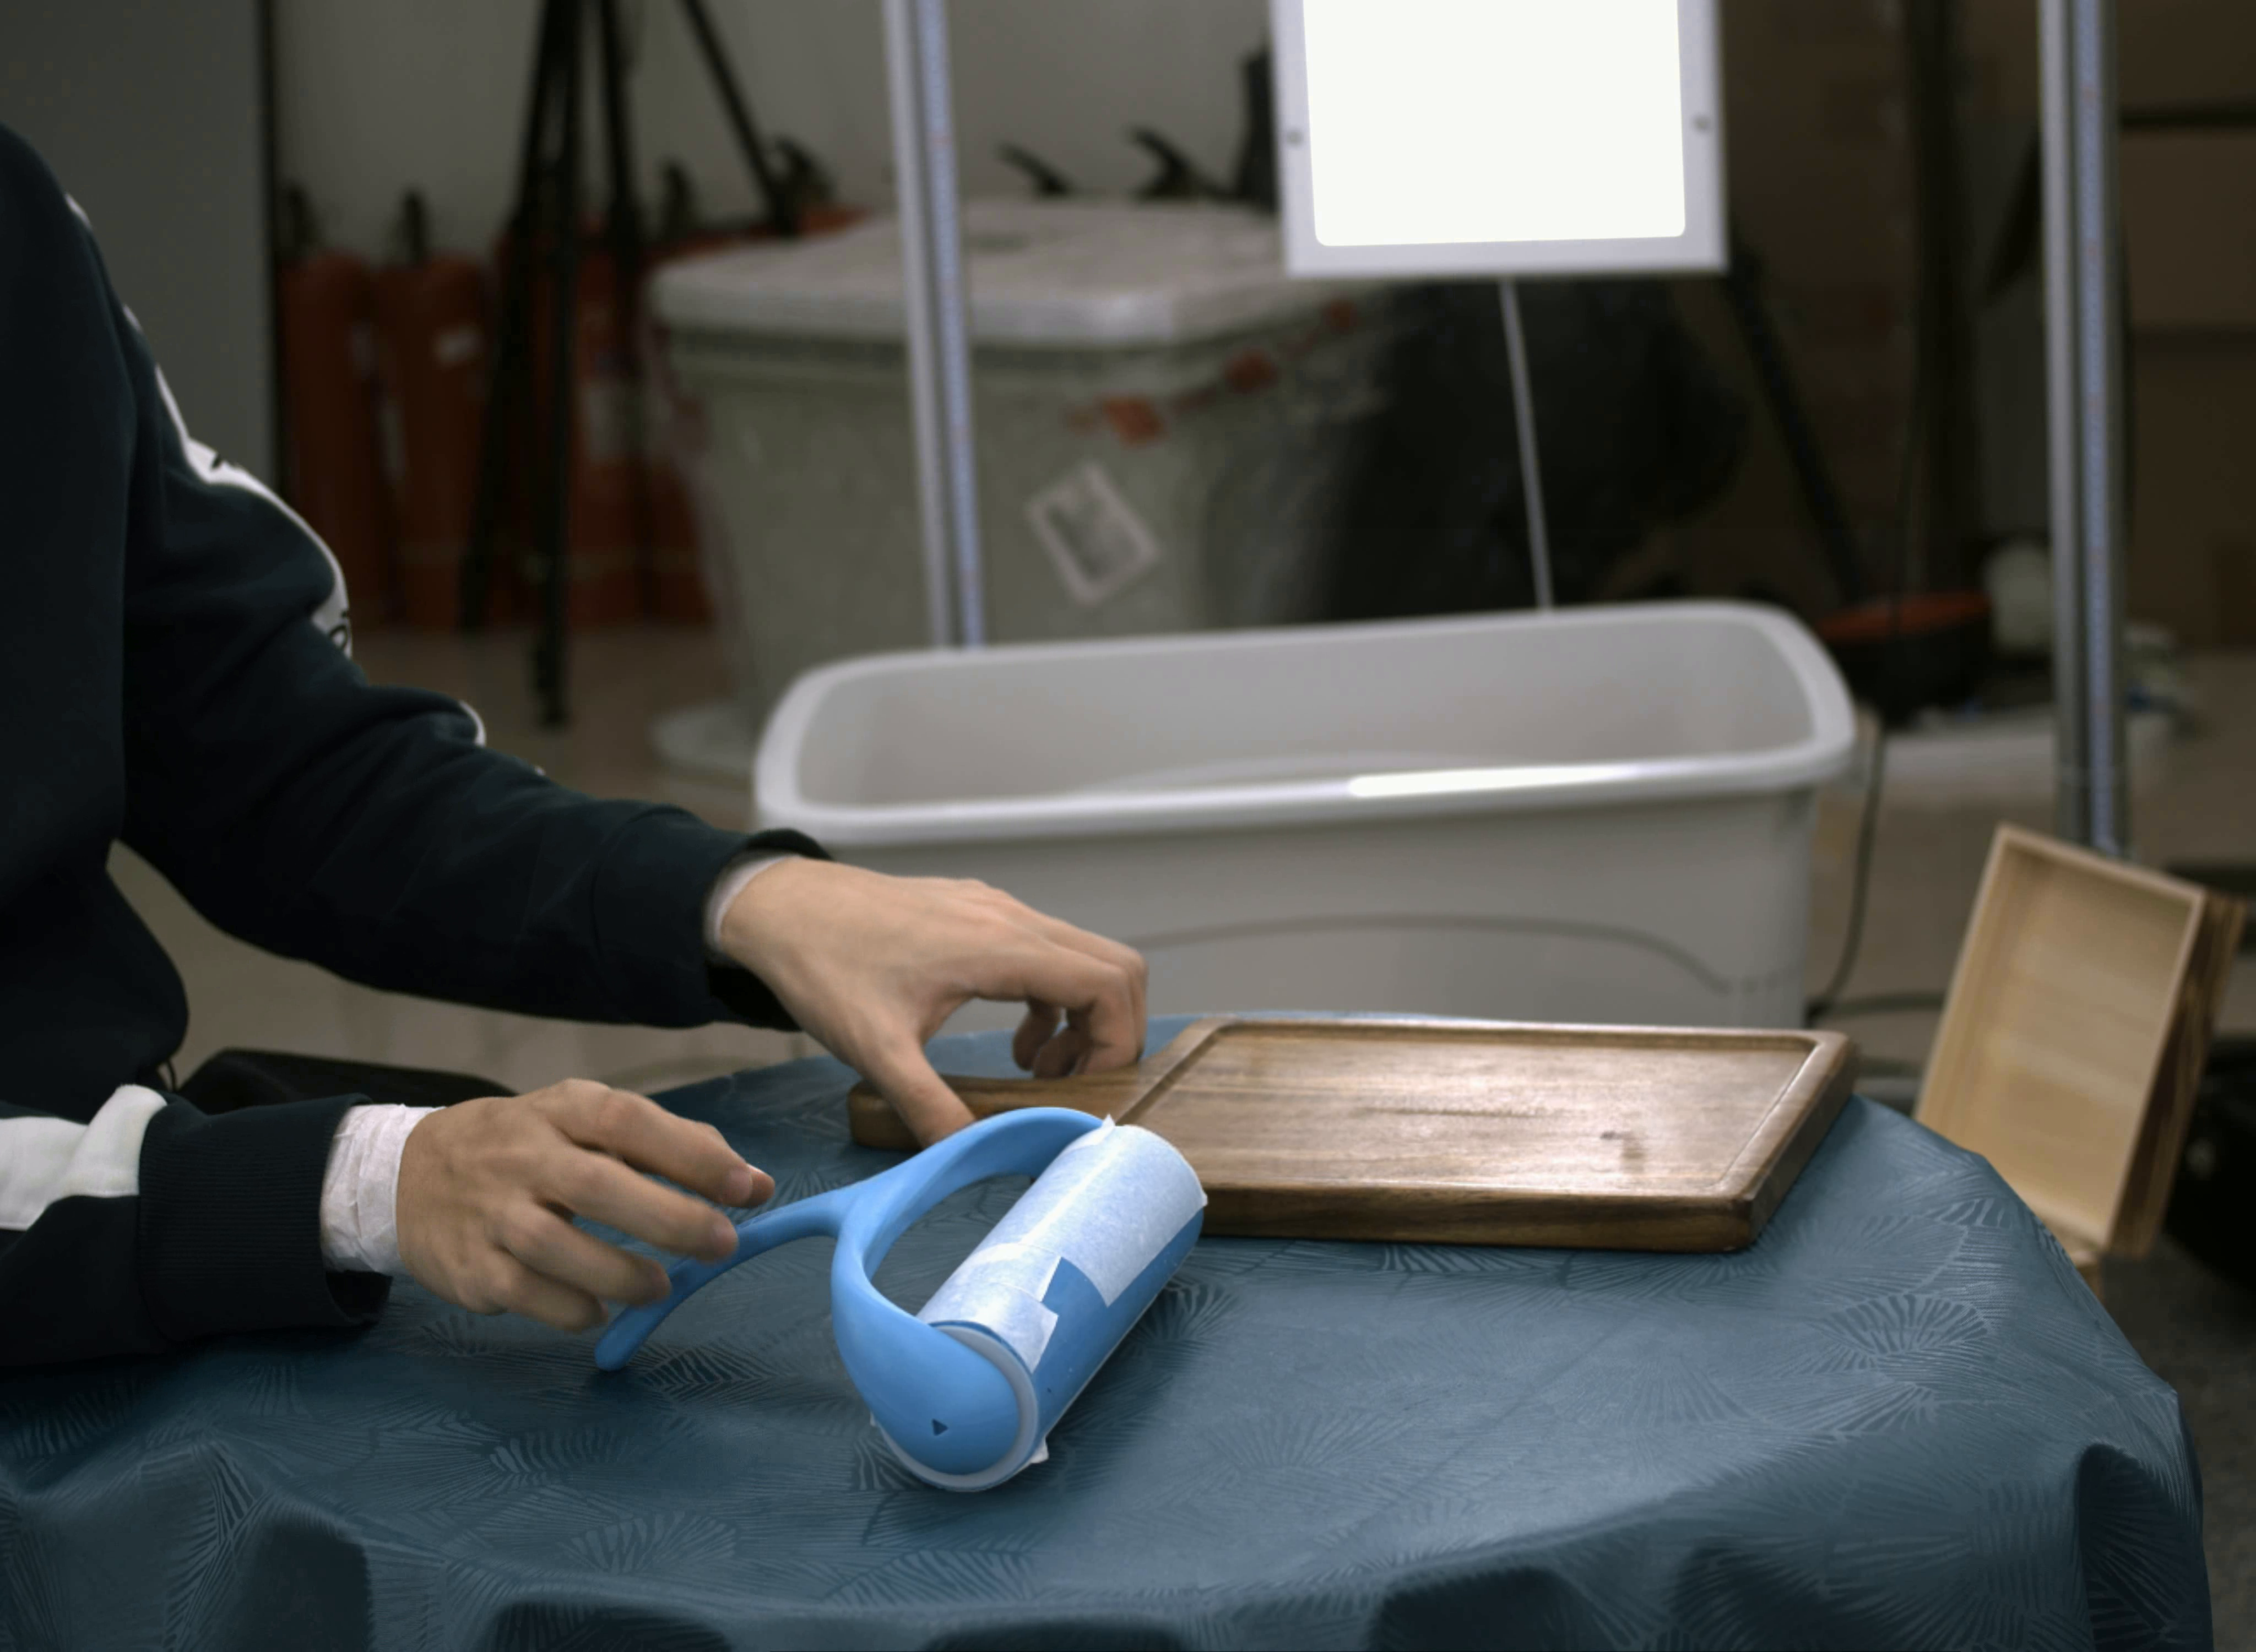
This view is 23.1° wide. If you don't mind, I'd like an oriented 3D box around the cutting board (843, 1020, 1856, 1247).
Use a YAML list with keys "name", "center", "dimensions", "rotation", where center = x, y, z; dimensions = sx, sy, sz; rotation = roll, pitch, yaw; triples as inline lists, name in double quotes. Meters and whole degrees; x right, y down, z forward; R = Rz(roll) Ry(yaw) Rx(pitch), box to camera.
- name: "cutting board"
  center: [0.067, 0.103, 1.919]
  dimensions: [0.357, 0.023, 0.197]
  rotation: [0, 14, 20]

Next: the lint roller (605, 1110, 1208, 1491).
- name: "lint roller"
  center: [-0.081, 0.146, 1.724]
  dimensions: [0.182, 0.068, 0.226]
  rotation: [-1, 16, 14]
